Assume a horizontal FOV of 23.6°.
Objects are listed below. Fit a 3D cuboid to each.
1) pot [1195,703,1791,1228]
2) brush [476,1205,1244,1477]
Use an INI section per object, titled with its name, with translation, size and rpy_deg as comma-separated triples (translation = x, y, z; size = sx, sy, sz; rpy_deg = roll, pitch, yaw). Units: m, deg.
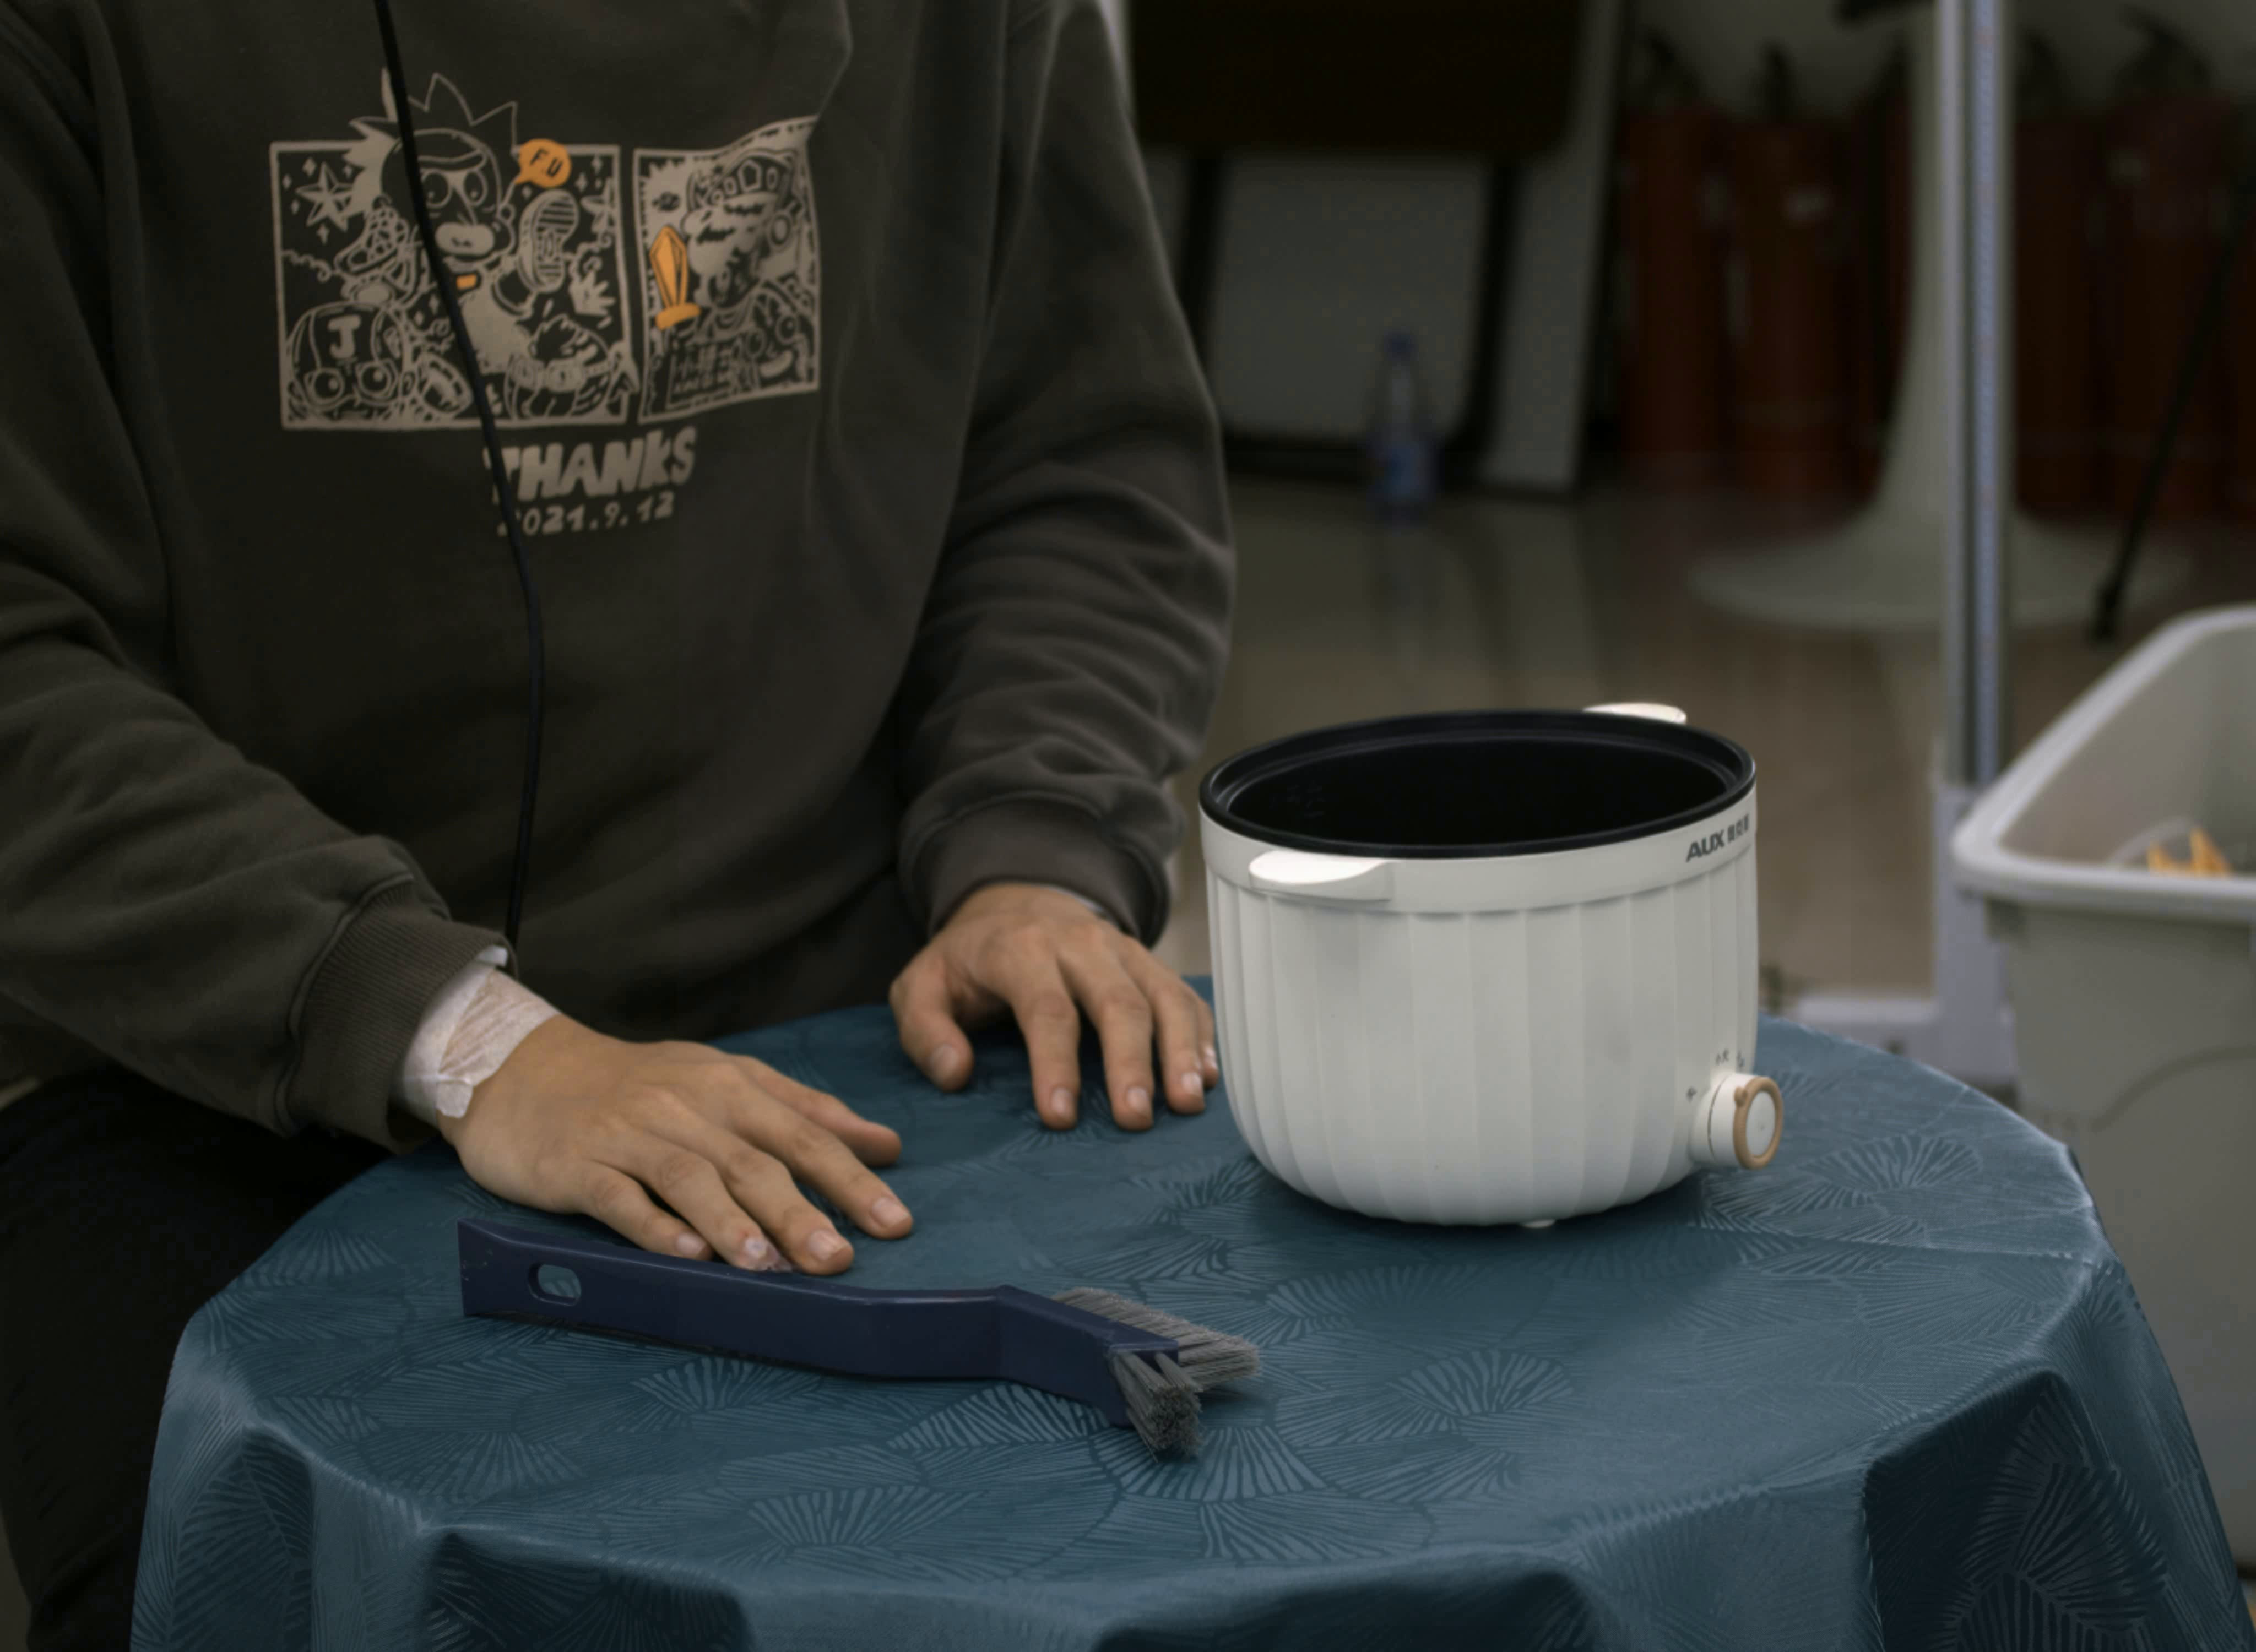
[pot]
translation = 0.122, 0.048, 1.747
size = 0.191, 0.144, 0.236
rpy_deg = 0, 15, 35
[brush]
translation = -0.093, 0.151, 1.615
size = 0.273, 0.034, 0.094
rpy_deg = 4, 16, 26
